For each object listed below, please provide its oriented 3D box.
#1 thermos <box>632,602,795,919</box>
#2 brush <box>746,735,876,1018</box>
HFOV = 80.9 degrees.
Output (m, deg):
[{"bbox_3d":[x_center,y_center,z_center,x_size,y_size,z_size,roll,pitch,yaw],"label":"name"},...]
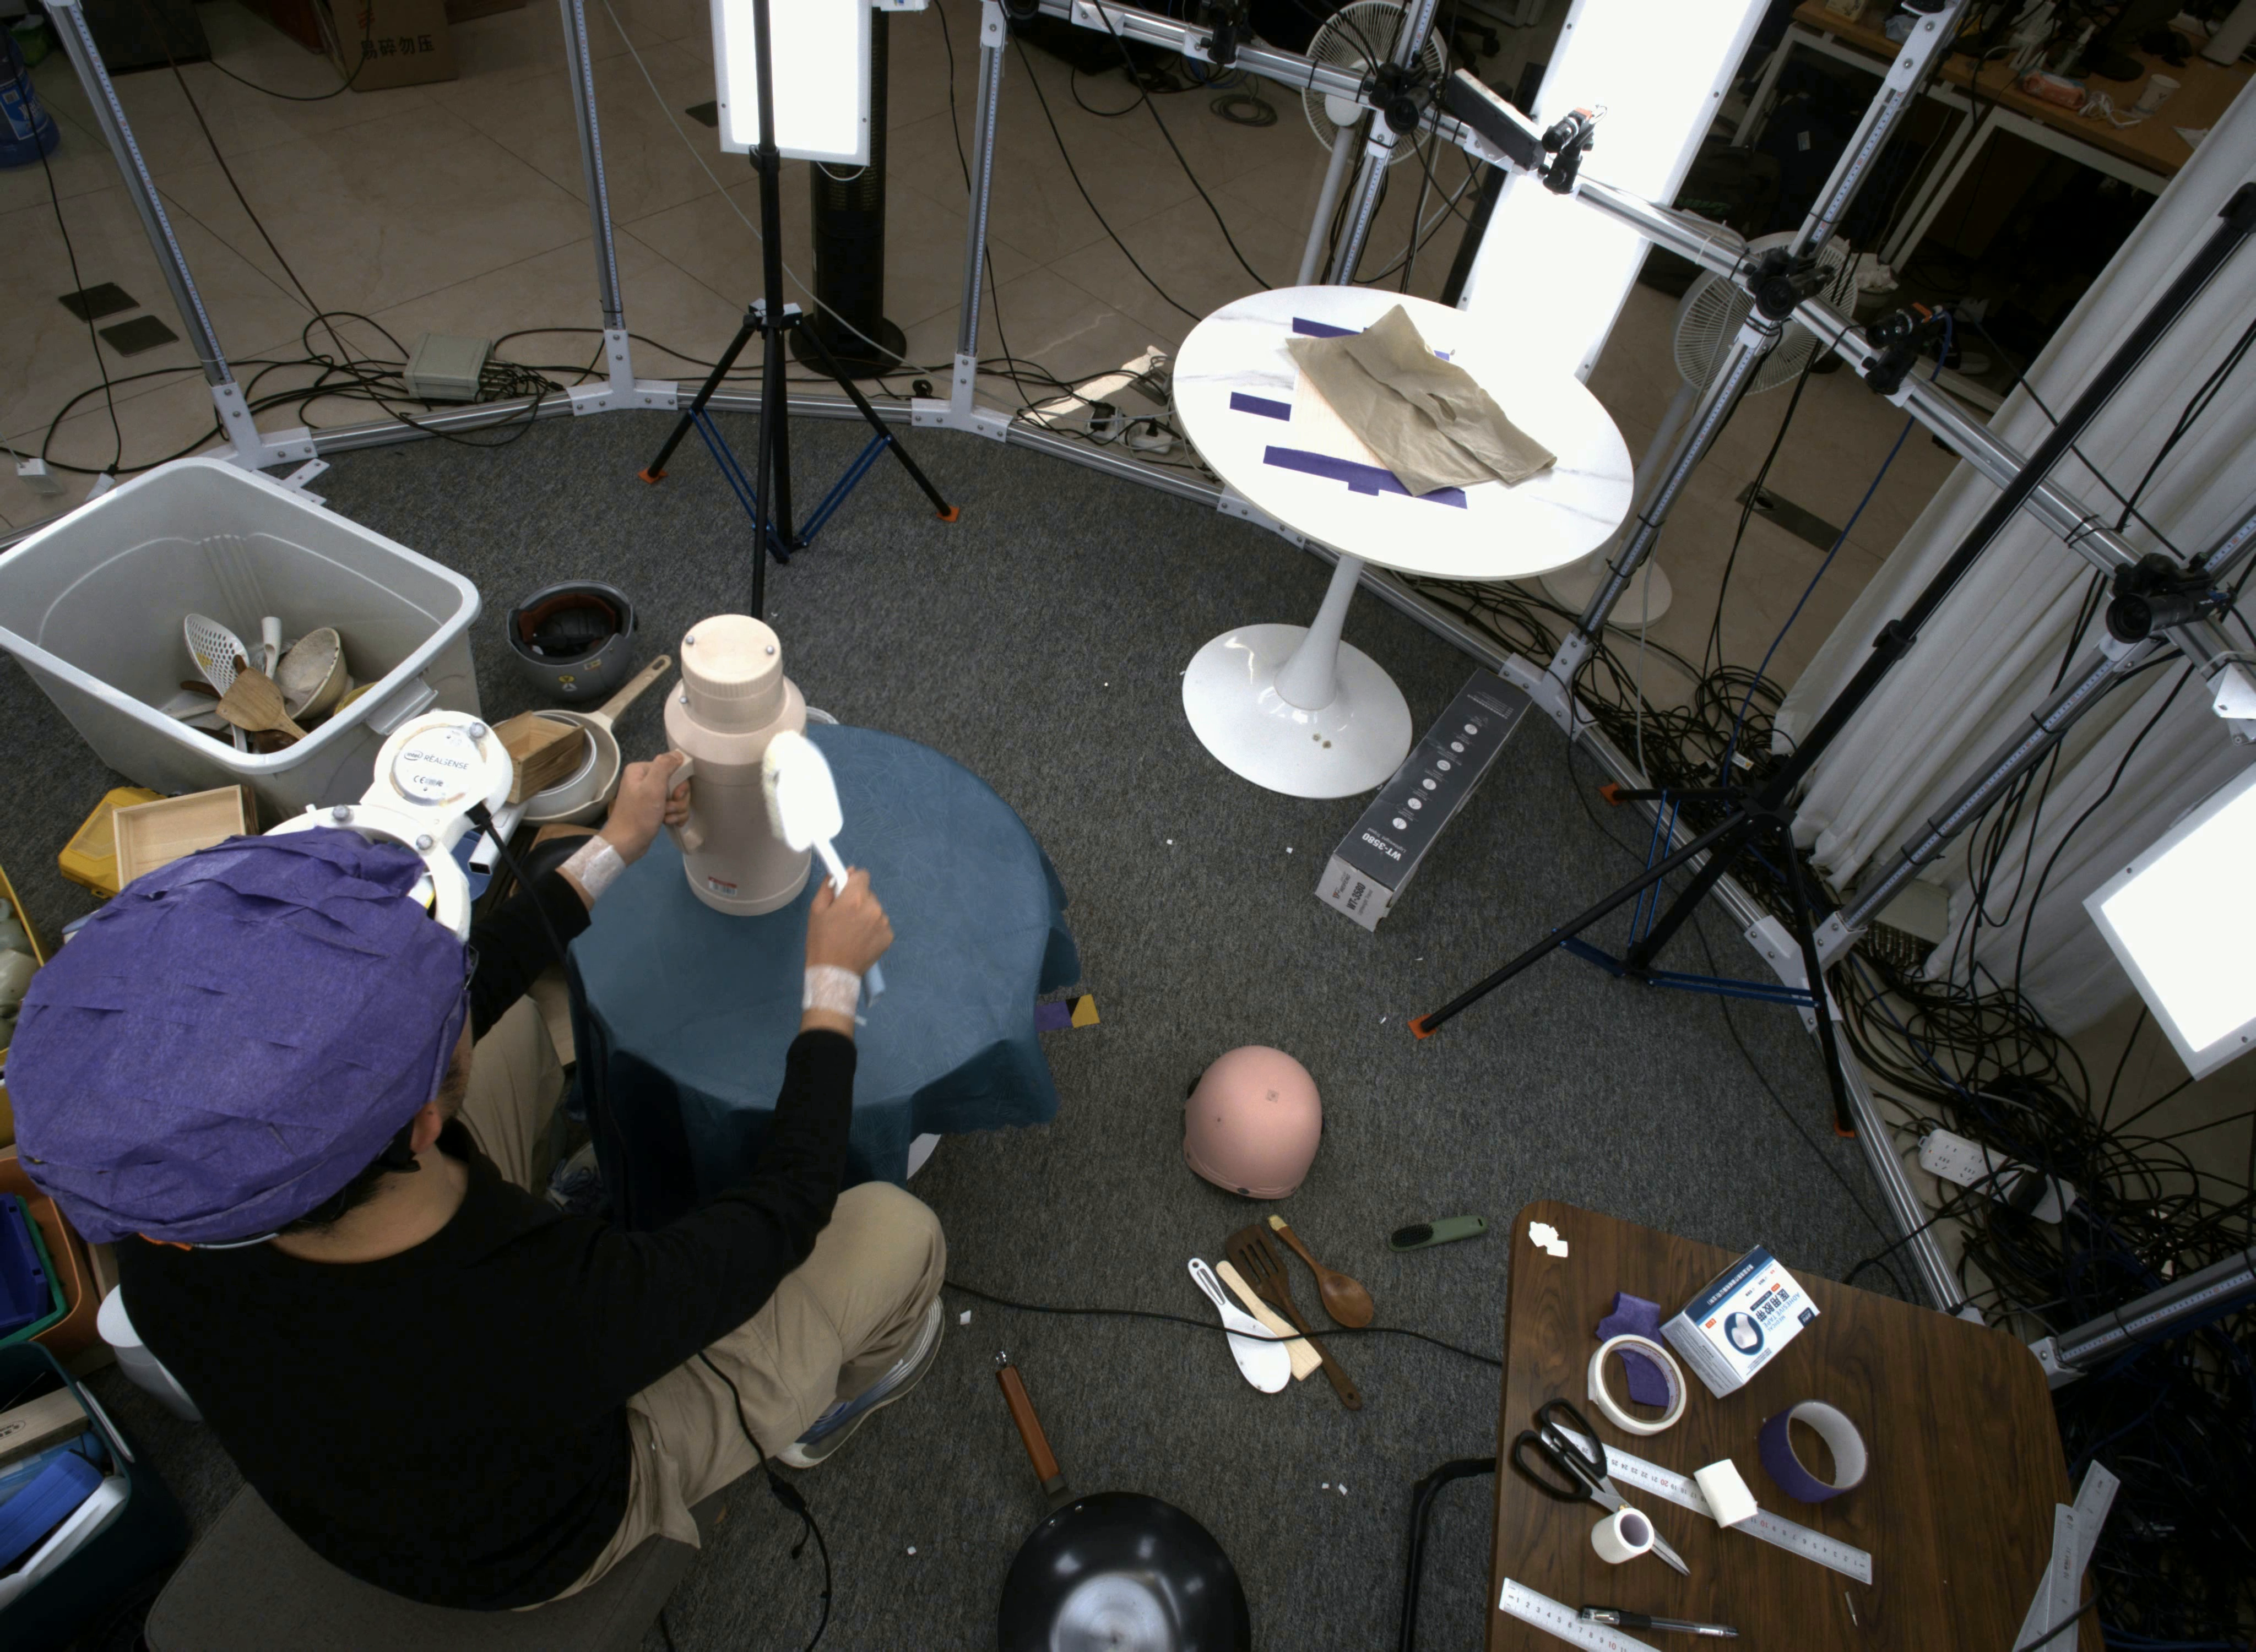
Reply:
[{"bbox_3d":[-0.483,-0.065,1.494,0.172,0.414,0.206,32,52,12],"label":"thermos"},{"bbox_3d":[-0.351,0.058,1.424,0.082,0.336,0.083,-11,22,7],"label":"brush"}]
